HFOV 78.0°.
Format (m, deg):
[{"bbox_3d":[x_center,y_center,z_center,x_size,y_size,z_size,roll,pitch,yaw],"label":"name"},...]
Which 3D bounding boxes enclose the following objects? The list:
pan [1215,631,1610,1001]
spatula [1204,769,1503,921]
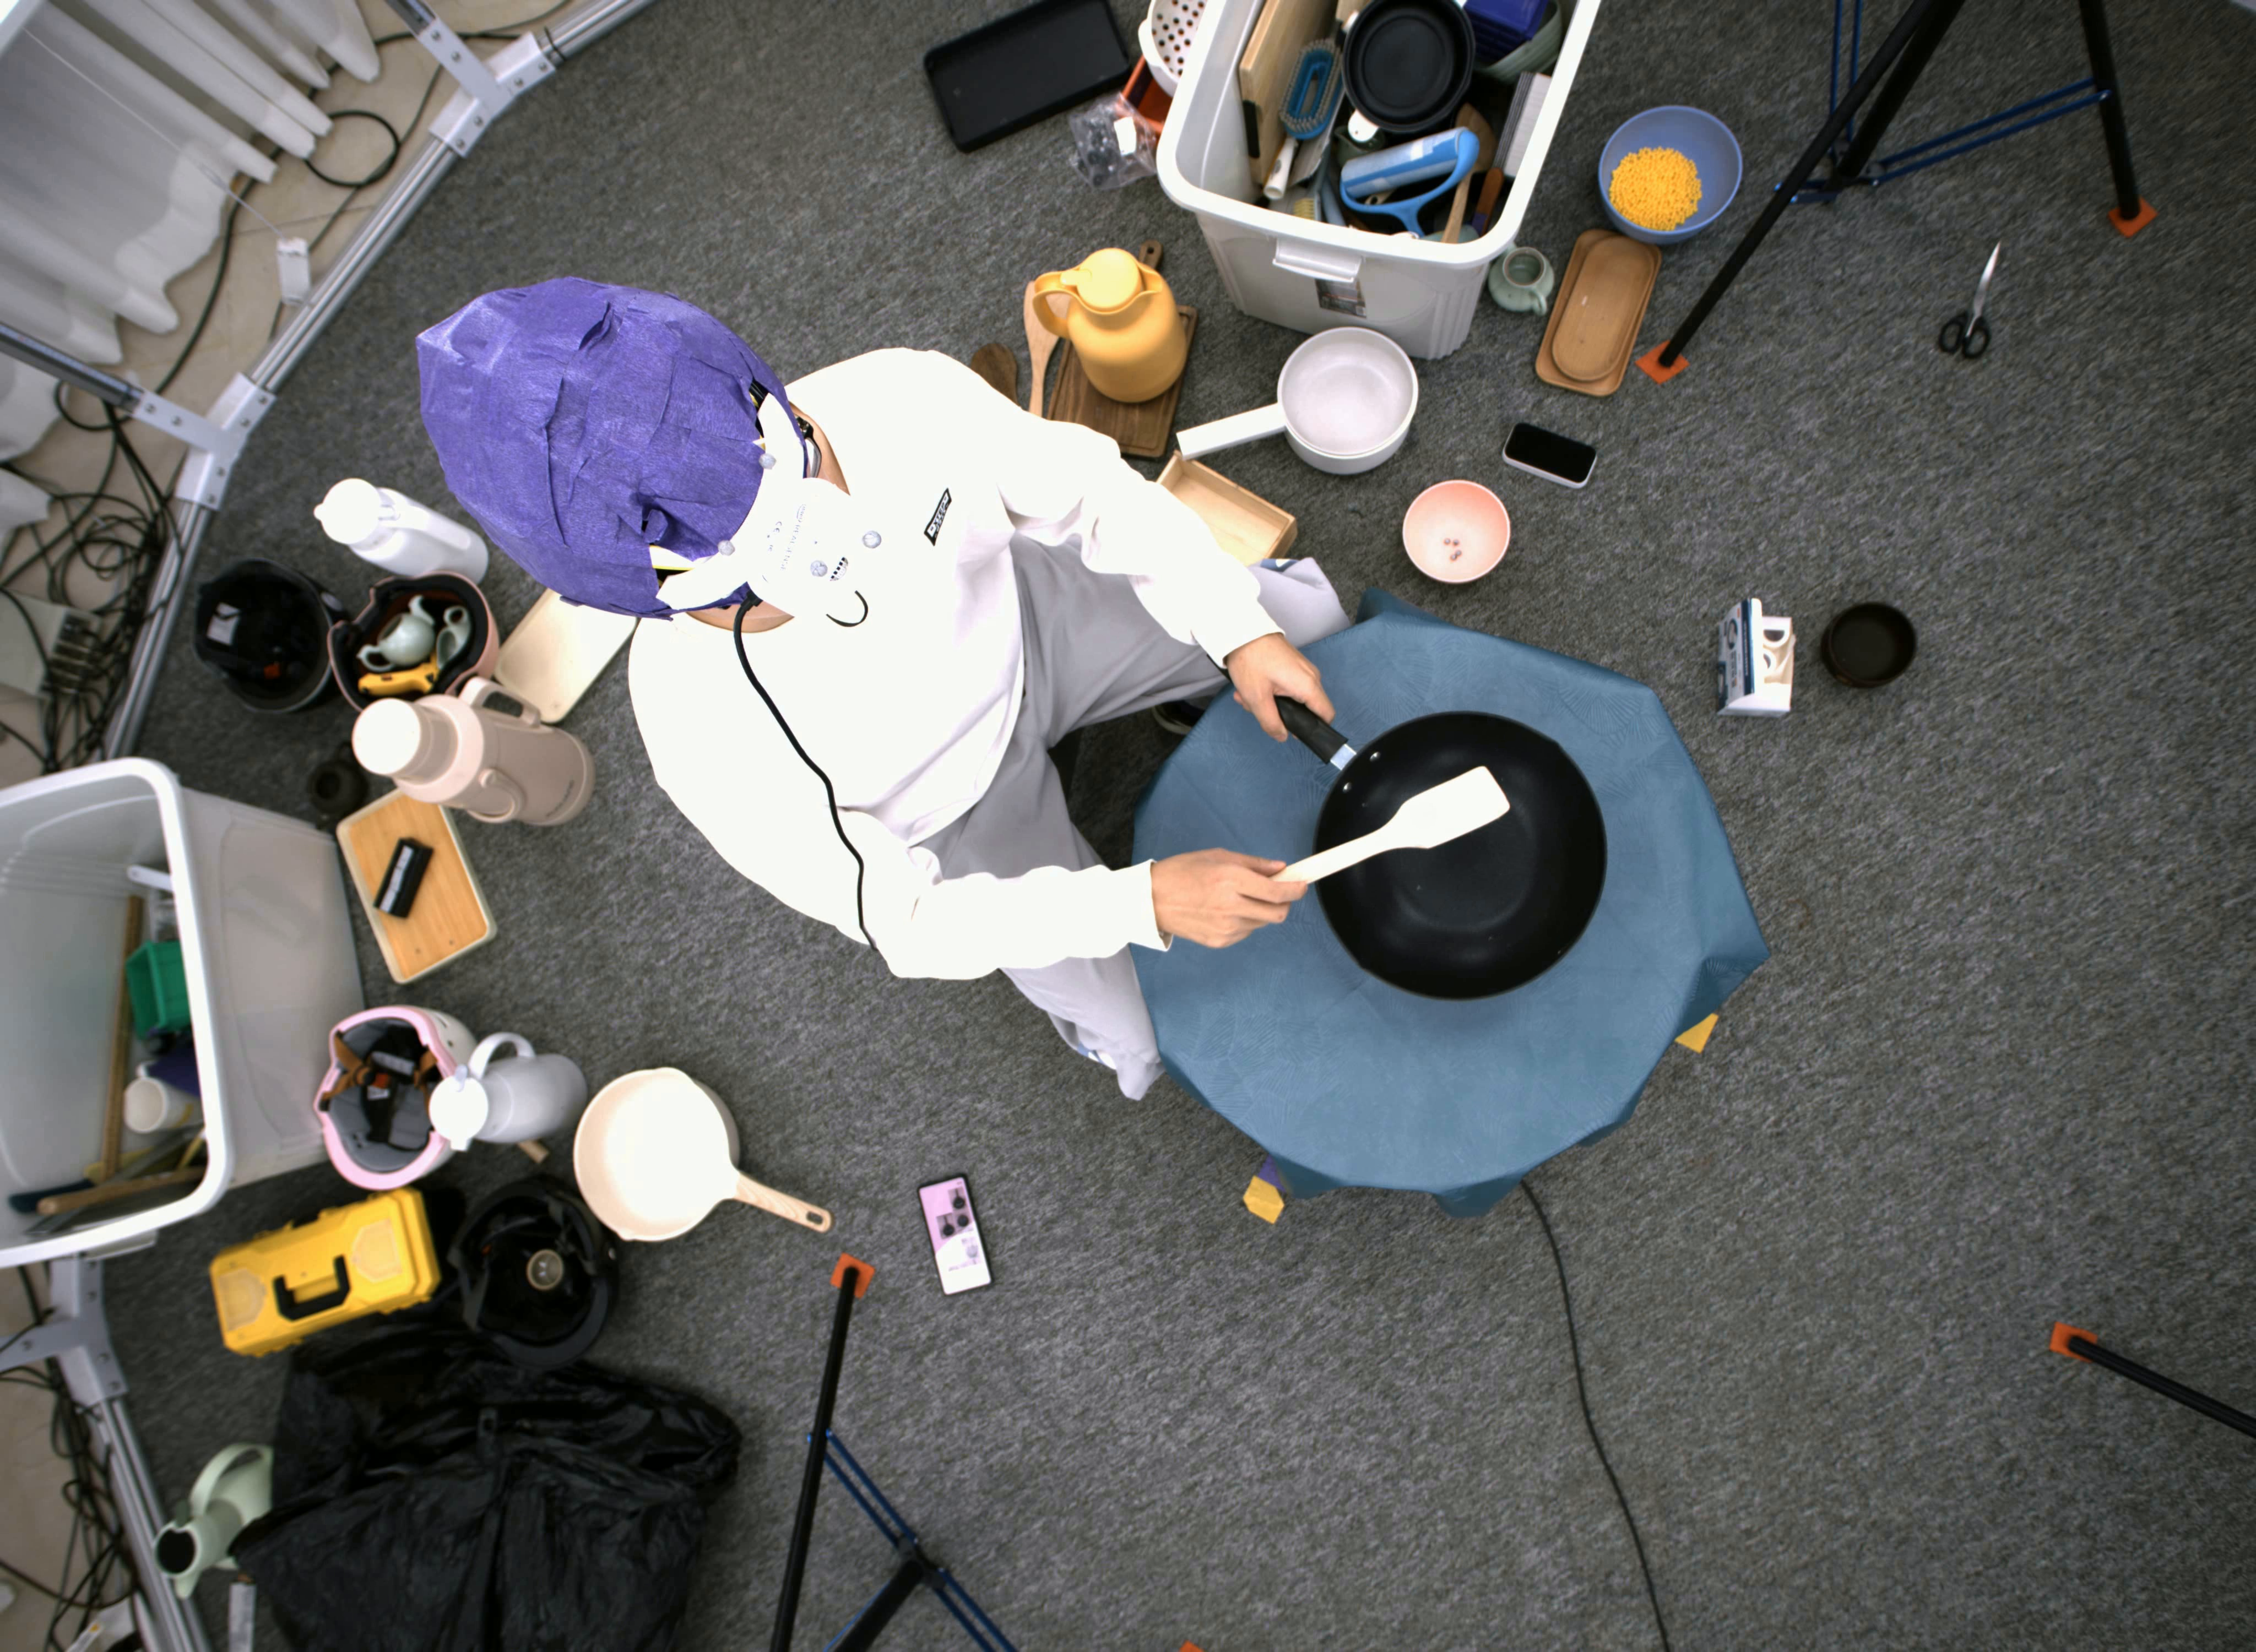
[{"bbox_3d":[0.263,-0.032,1.380,0.460,0.086,0.291,43,102,14],"label":"pan"},{"bbox_3d":[0.205,0.025,1.289,0.295,0.011,0.070,-24,39,9],"label":"spatula"}]
